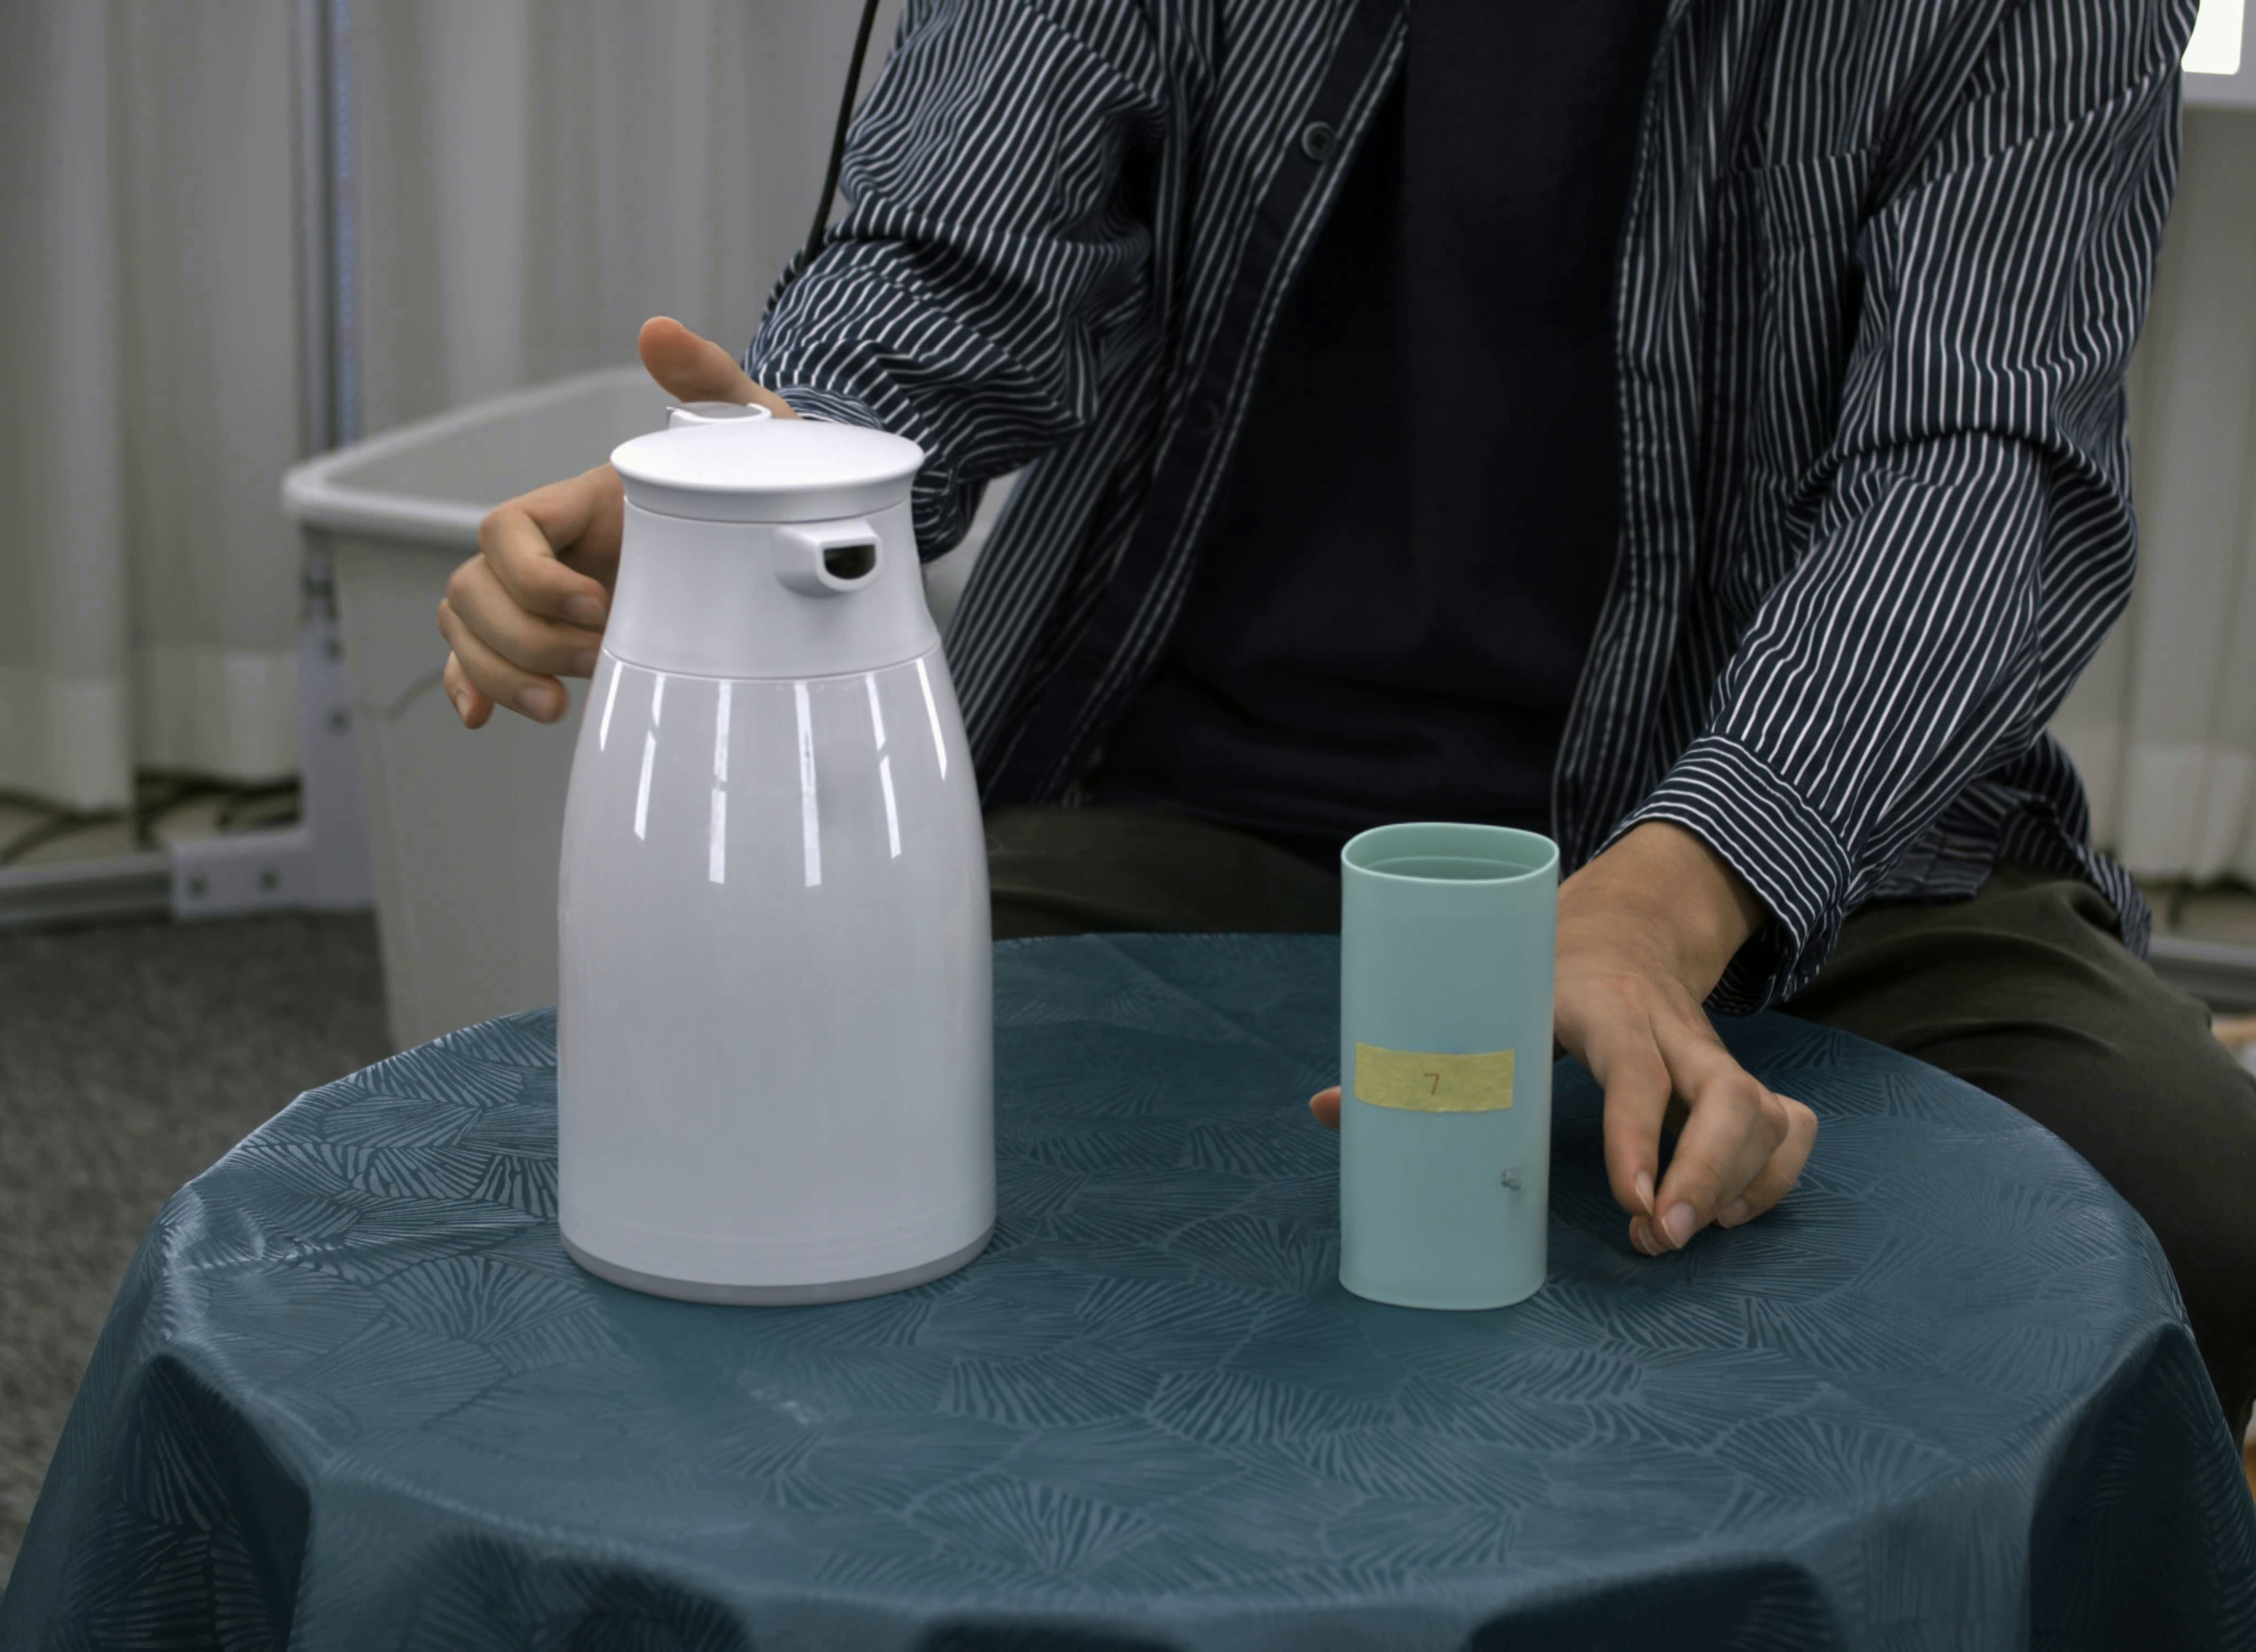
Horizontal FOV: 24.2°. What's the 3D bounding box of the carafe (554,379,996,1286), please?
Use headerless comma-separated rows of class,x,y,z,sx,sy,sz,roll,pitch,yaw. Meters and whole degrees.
carafe,-0.116,-0.006,1.571,0.133,0.250,0.165,-9,18,-28

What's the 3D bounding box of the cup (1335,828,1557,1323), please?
cup,0.092,0.072,1.541,0.066,0.133,0.066,0,18,0
